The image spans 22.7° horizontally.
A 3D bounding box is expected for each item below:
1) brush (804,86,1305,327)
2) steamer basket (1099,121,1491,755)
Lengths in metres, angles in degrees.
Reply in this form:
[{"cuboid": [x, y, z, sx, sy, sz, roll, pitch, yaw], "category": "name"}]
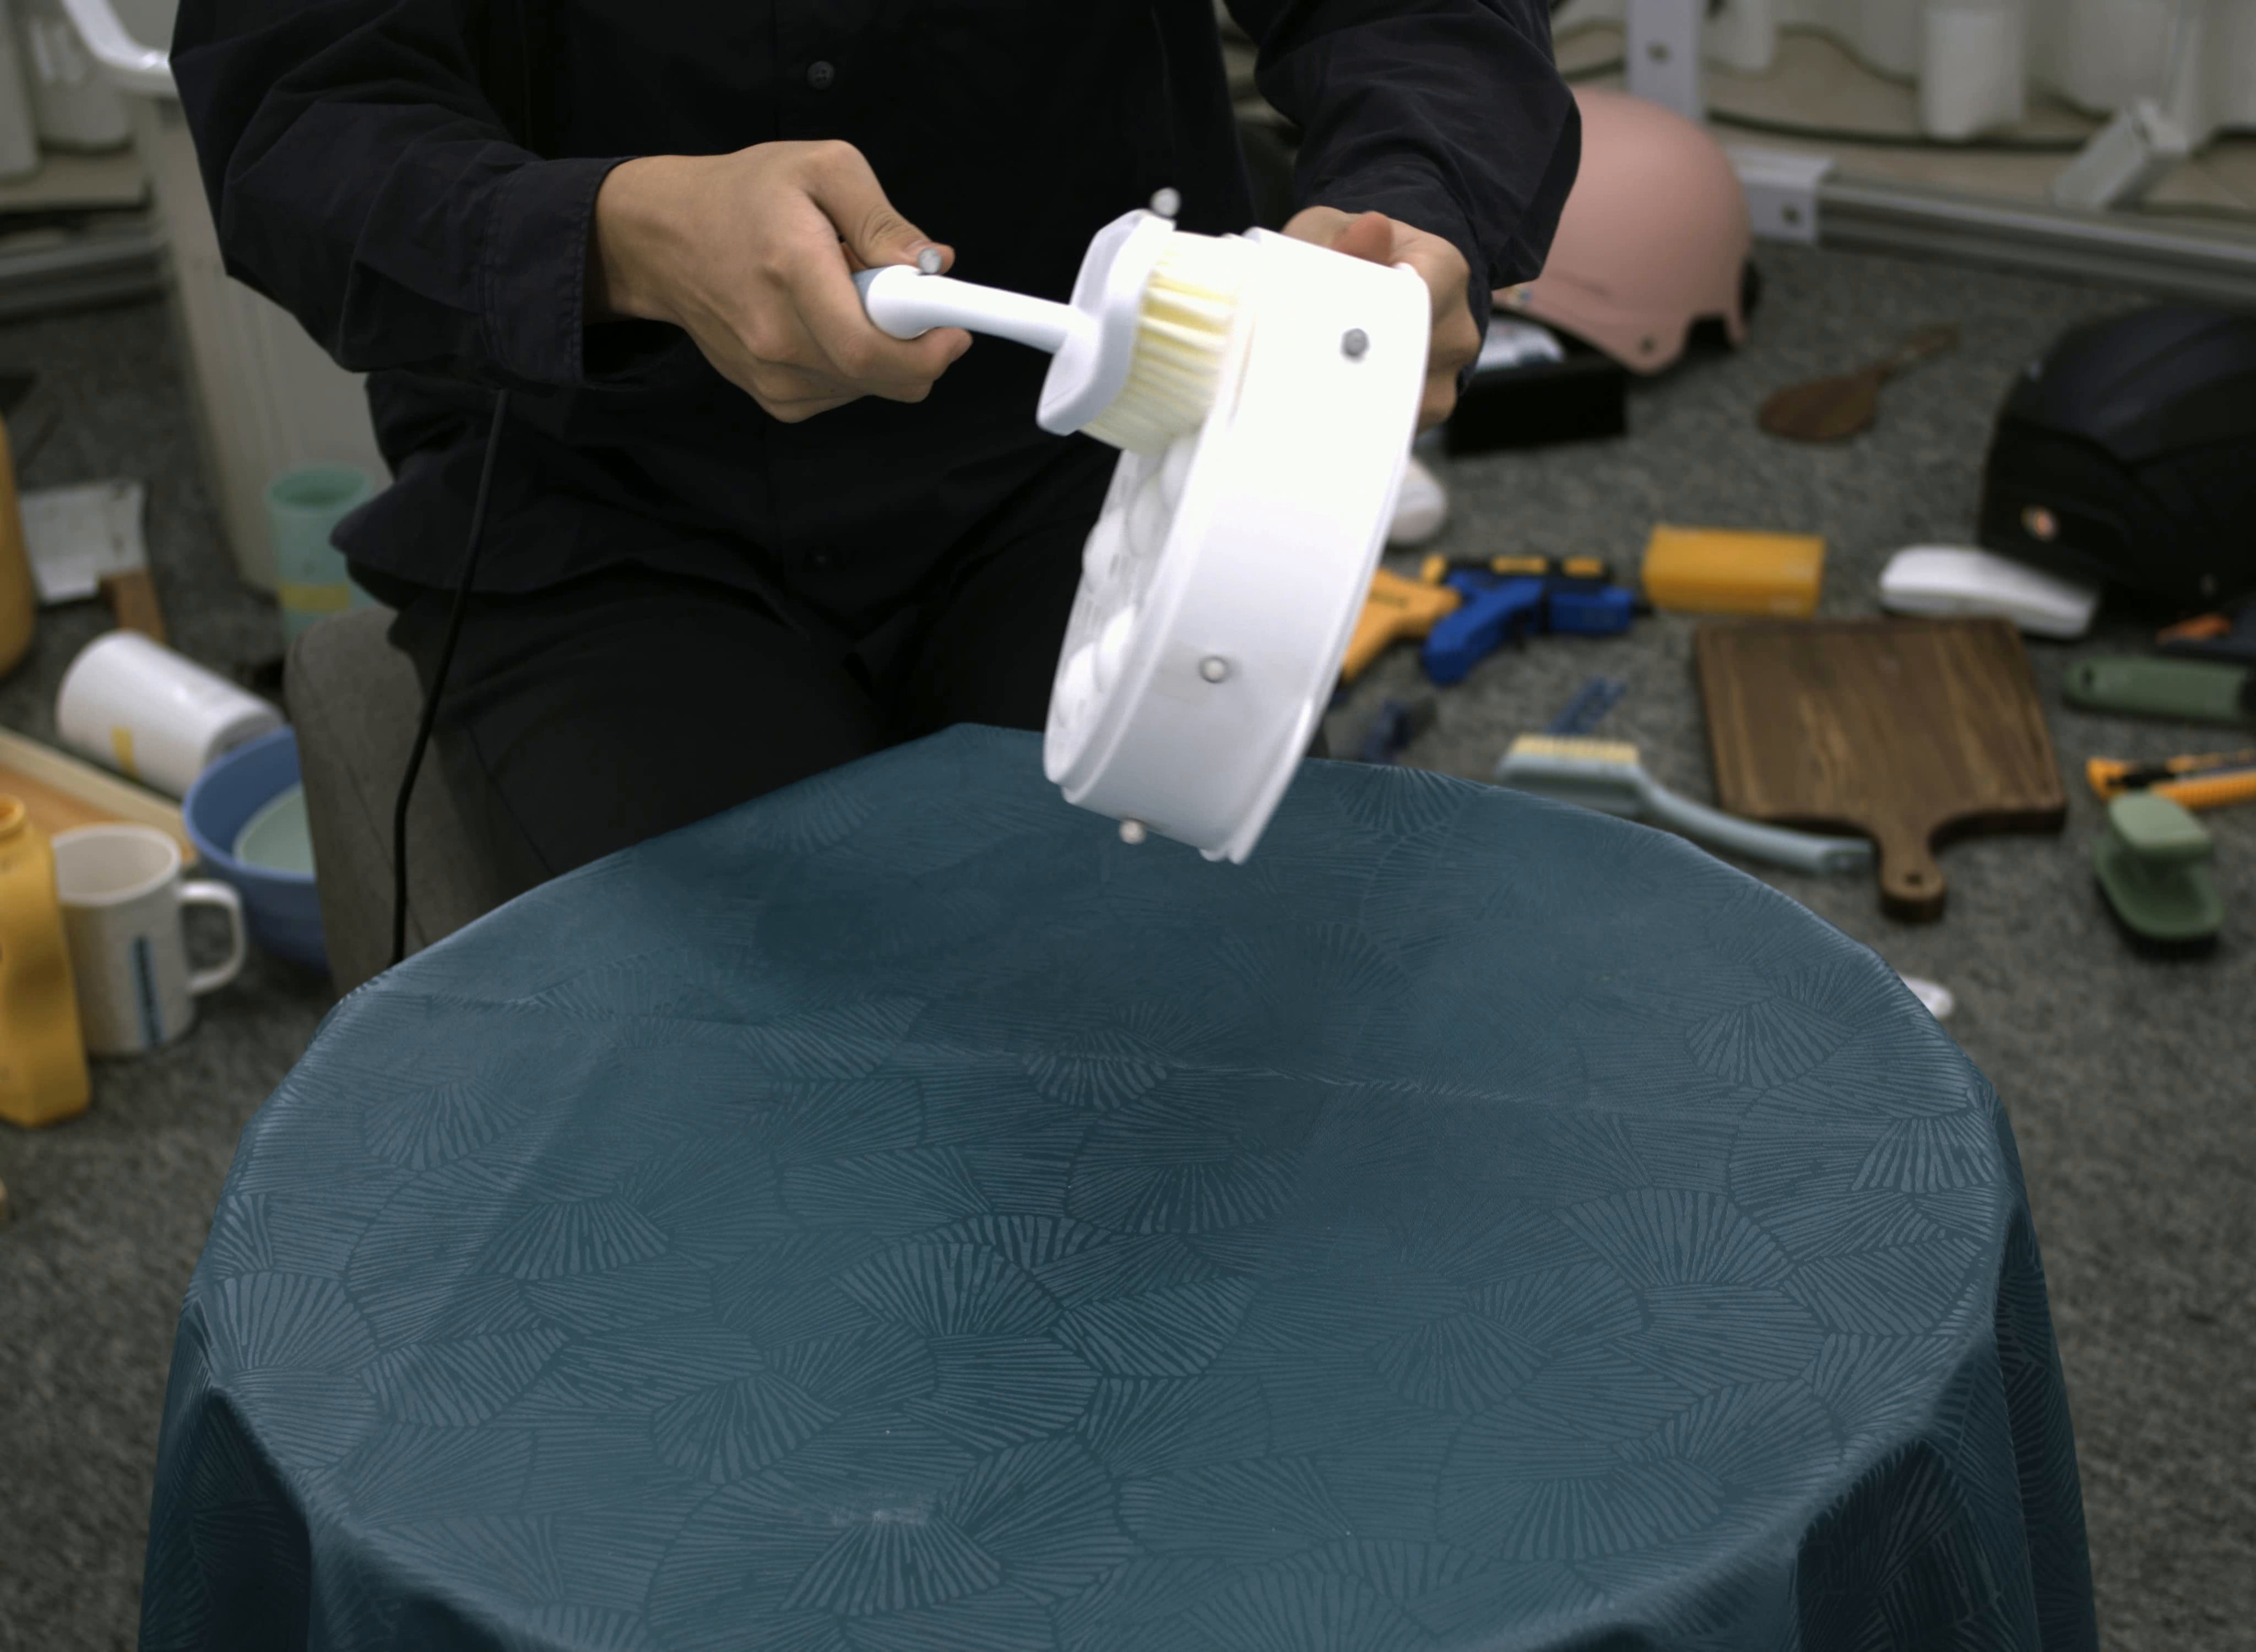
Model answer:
[{"cuboid": [-0.011, -0.204, 1.864, 0.084, 0.084, 0.324, -40, 16, -17], "category": "brush"}, {"cuboid": [0.049, -0.128, 1.814, 0.069, 0.198, 0.235, 18, 46, -10], "category": "steamer basket"}]
